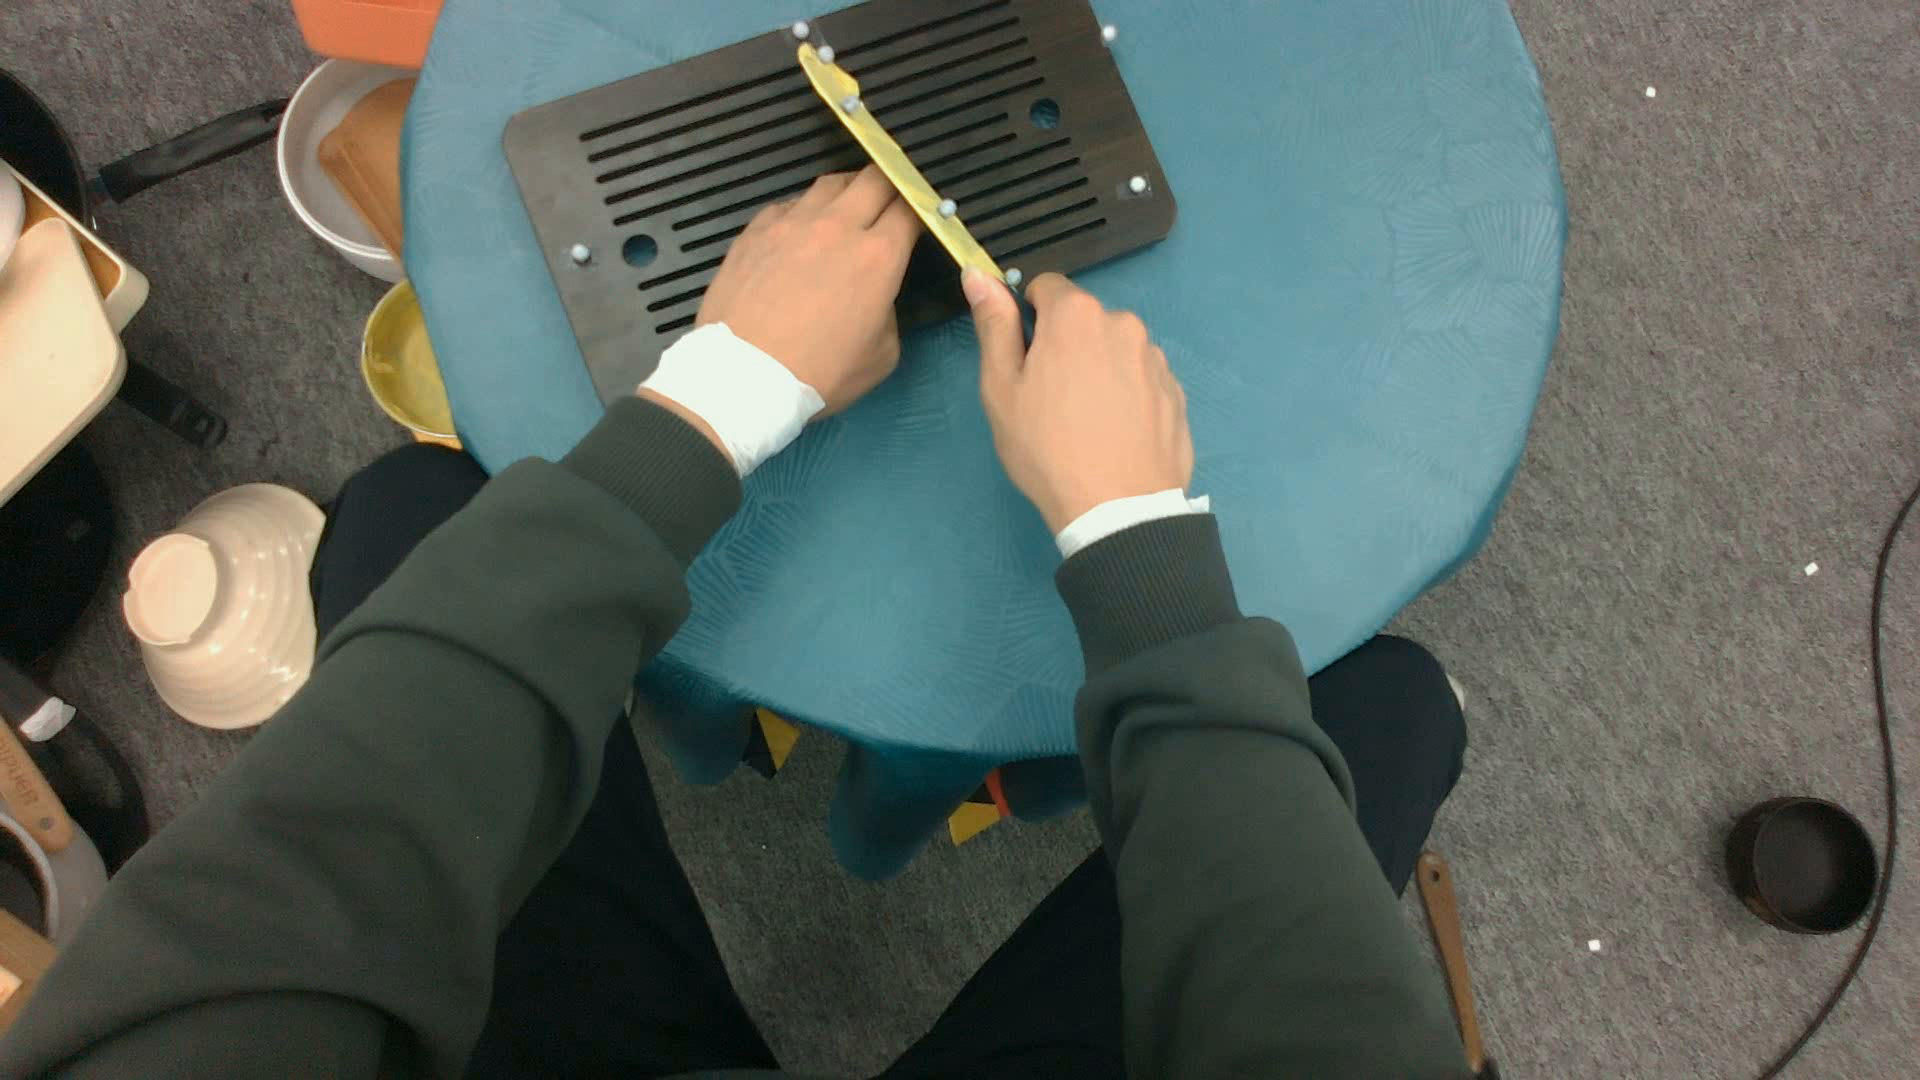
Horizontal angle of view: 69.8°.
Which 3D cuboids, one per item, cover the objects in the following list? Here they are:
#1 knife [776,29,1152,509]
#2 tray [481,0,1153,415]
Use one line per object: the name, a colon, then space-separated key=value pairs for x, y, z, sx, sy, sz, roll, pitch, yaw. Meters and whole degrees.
knife: x=-0.001 y=-0.133 z=0.650 sx=0.027 sy=0.081 sz=0.289 roll=-39 pitch=82 yaw=19
tray: x=-0.068 y=-0.188 z=0.696 sx=0.306 sy=0.018 sz=0.170 roll=-21 pitch=83 yaw=-10
